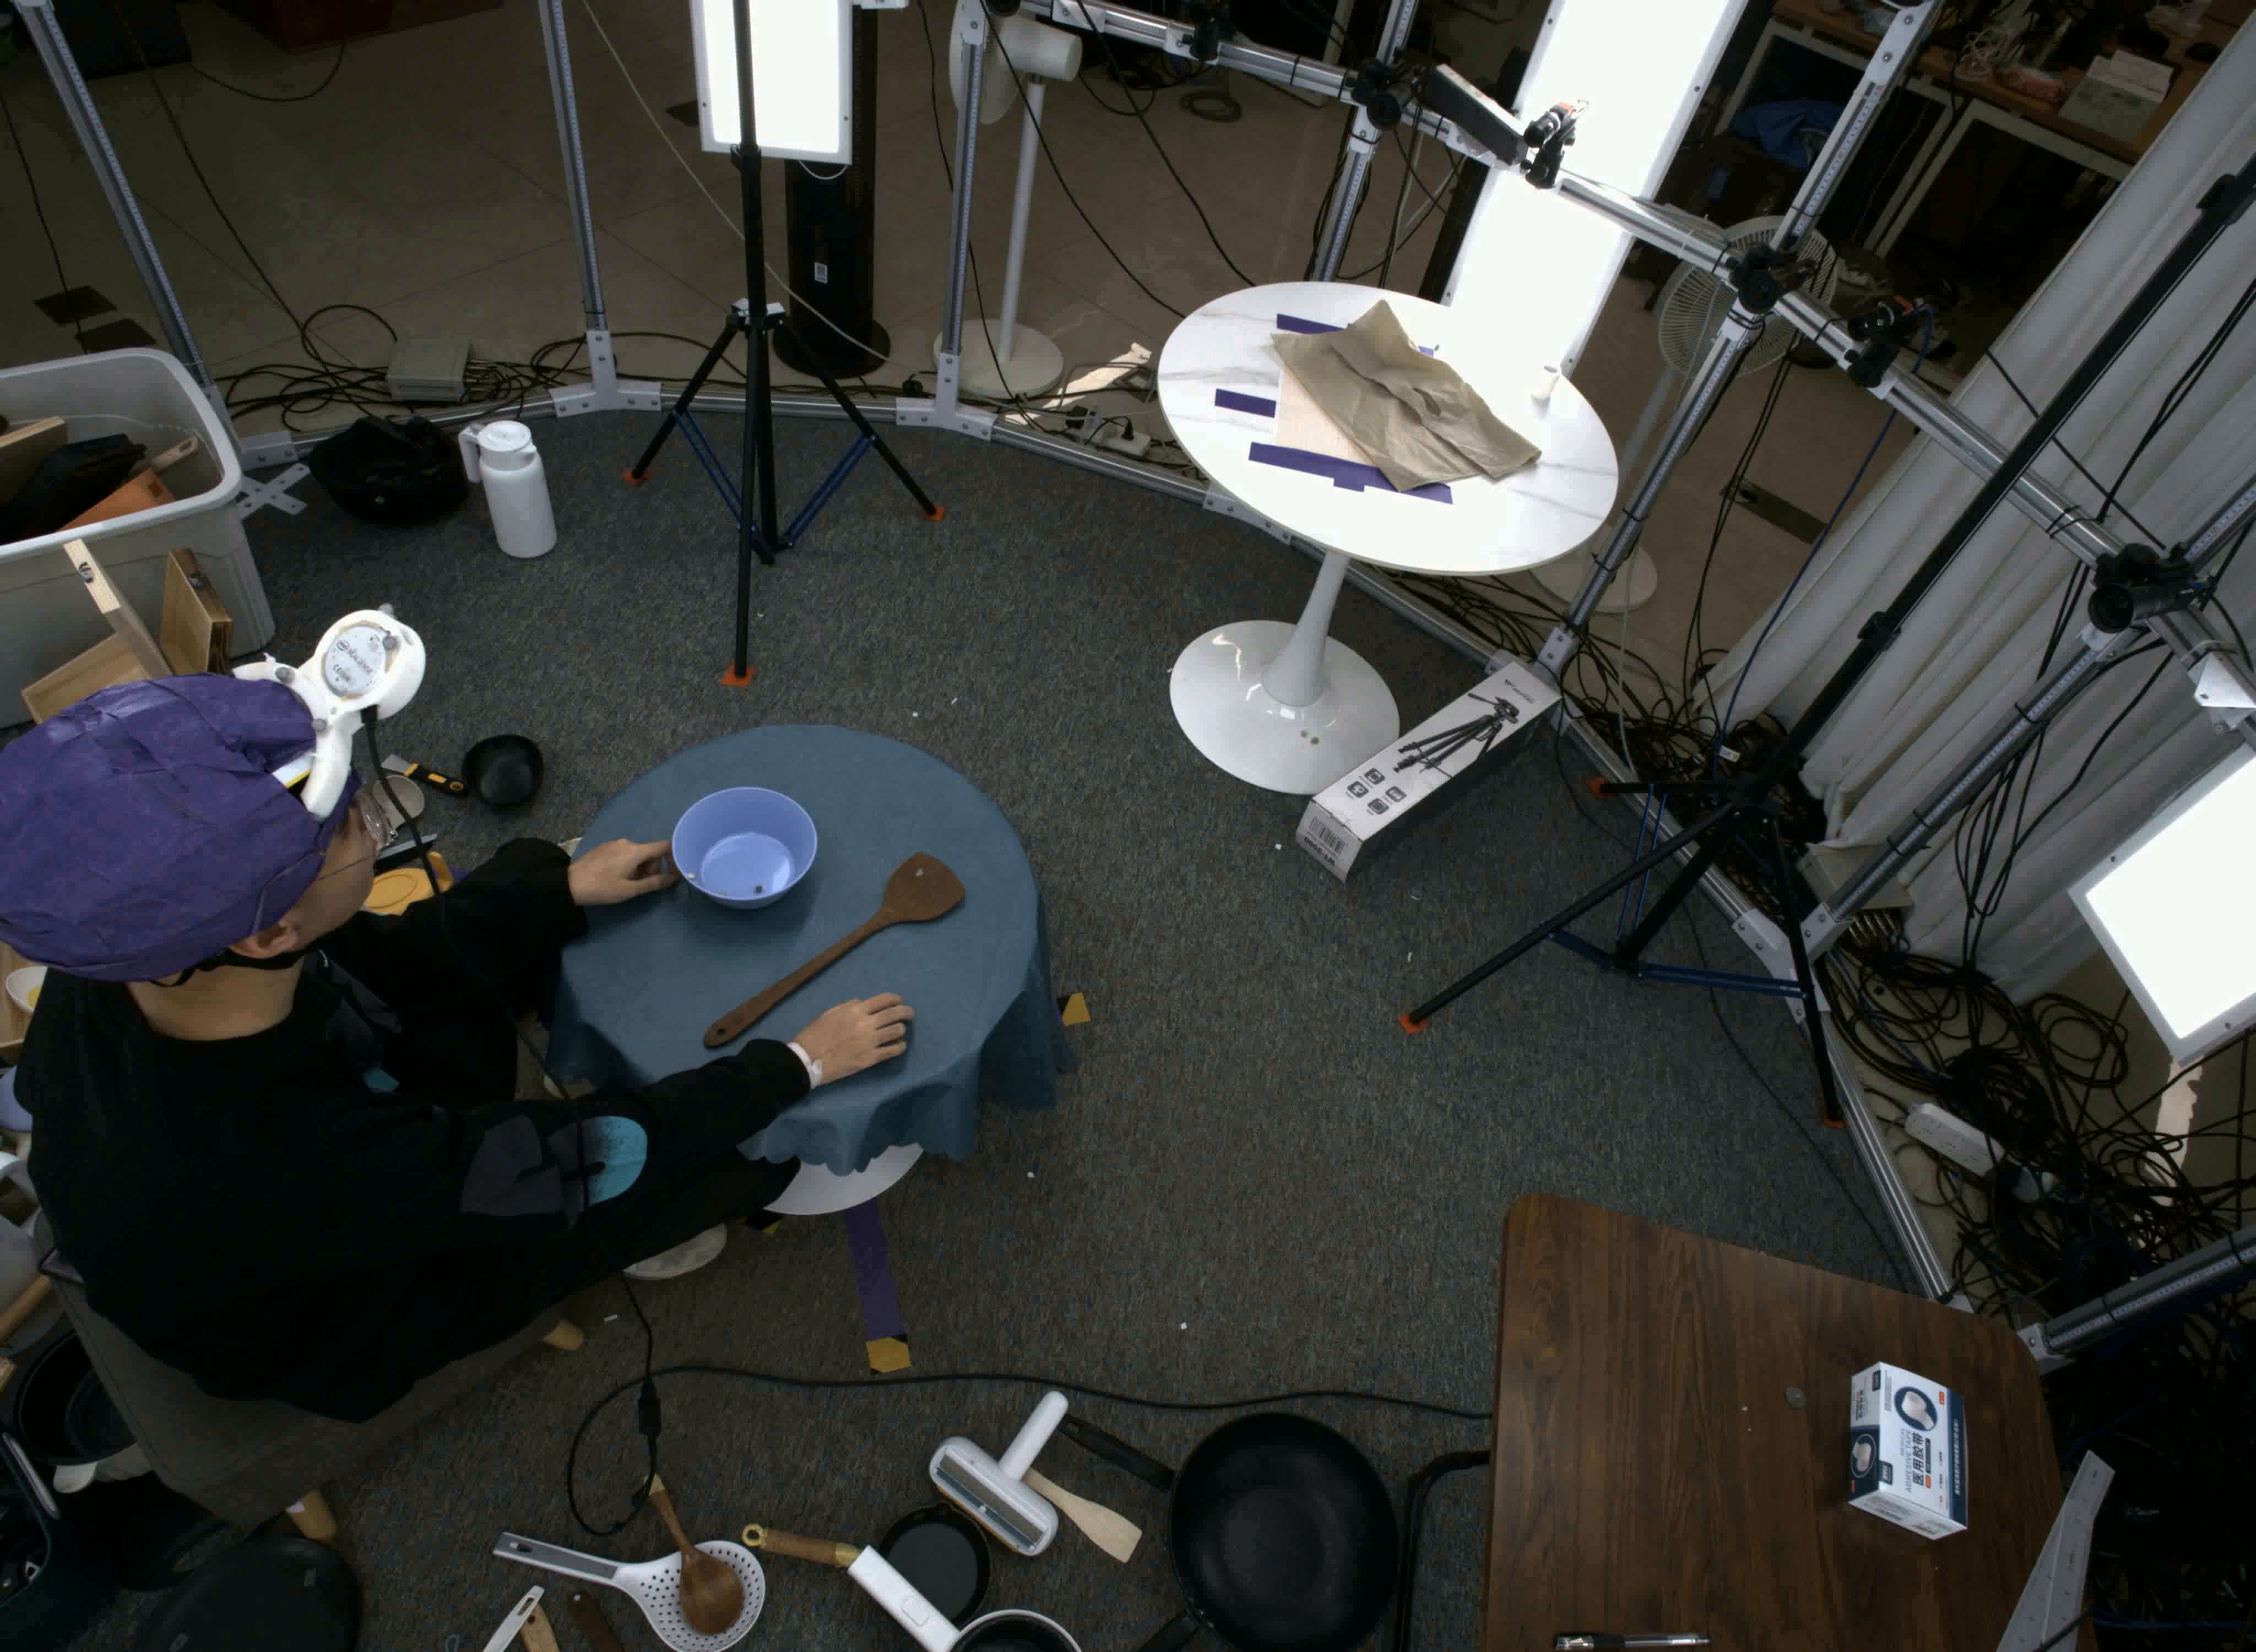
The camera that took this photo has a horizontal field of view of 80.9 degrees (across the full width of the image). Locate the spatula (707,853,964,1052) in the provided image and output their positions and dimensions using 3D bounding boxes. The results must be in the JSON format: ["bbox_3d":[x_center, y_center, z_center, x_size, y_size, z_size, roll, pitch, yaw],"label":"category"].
[{"bbox_3d":[-0.365,0.156,1.619,0.094,0.016,0.386,40,55,17],"label":"spatula"}]

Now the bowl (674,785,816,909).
[{"bbox_3d":[-0.483,0.037,1.642,0.175,0.072,0.173,7,54,-8],"label":"bowl"}]
